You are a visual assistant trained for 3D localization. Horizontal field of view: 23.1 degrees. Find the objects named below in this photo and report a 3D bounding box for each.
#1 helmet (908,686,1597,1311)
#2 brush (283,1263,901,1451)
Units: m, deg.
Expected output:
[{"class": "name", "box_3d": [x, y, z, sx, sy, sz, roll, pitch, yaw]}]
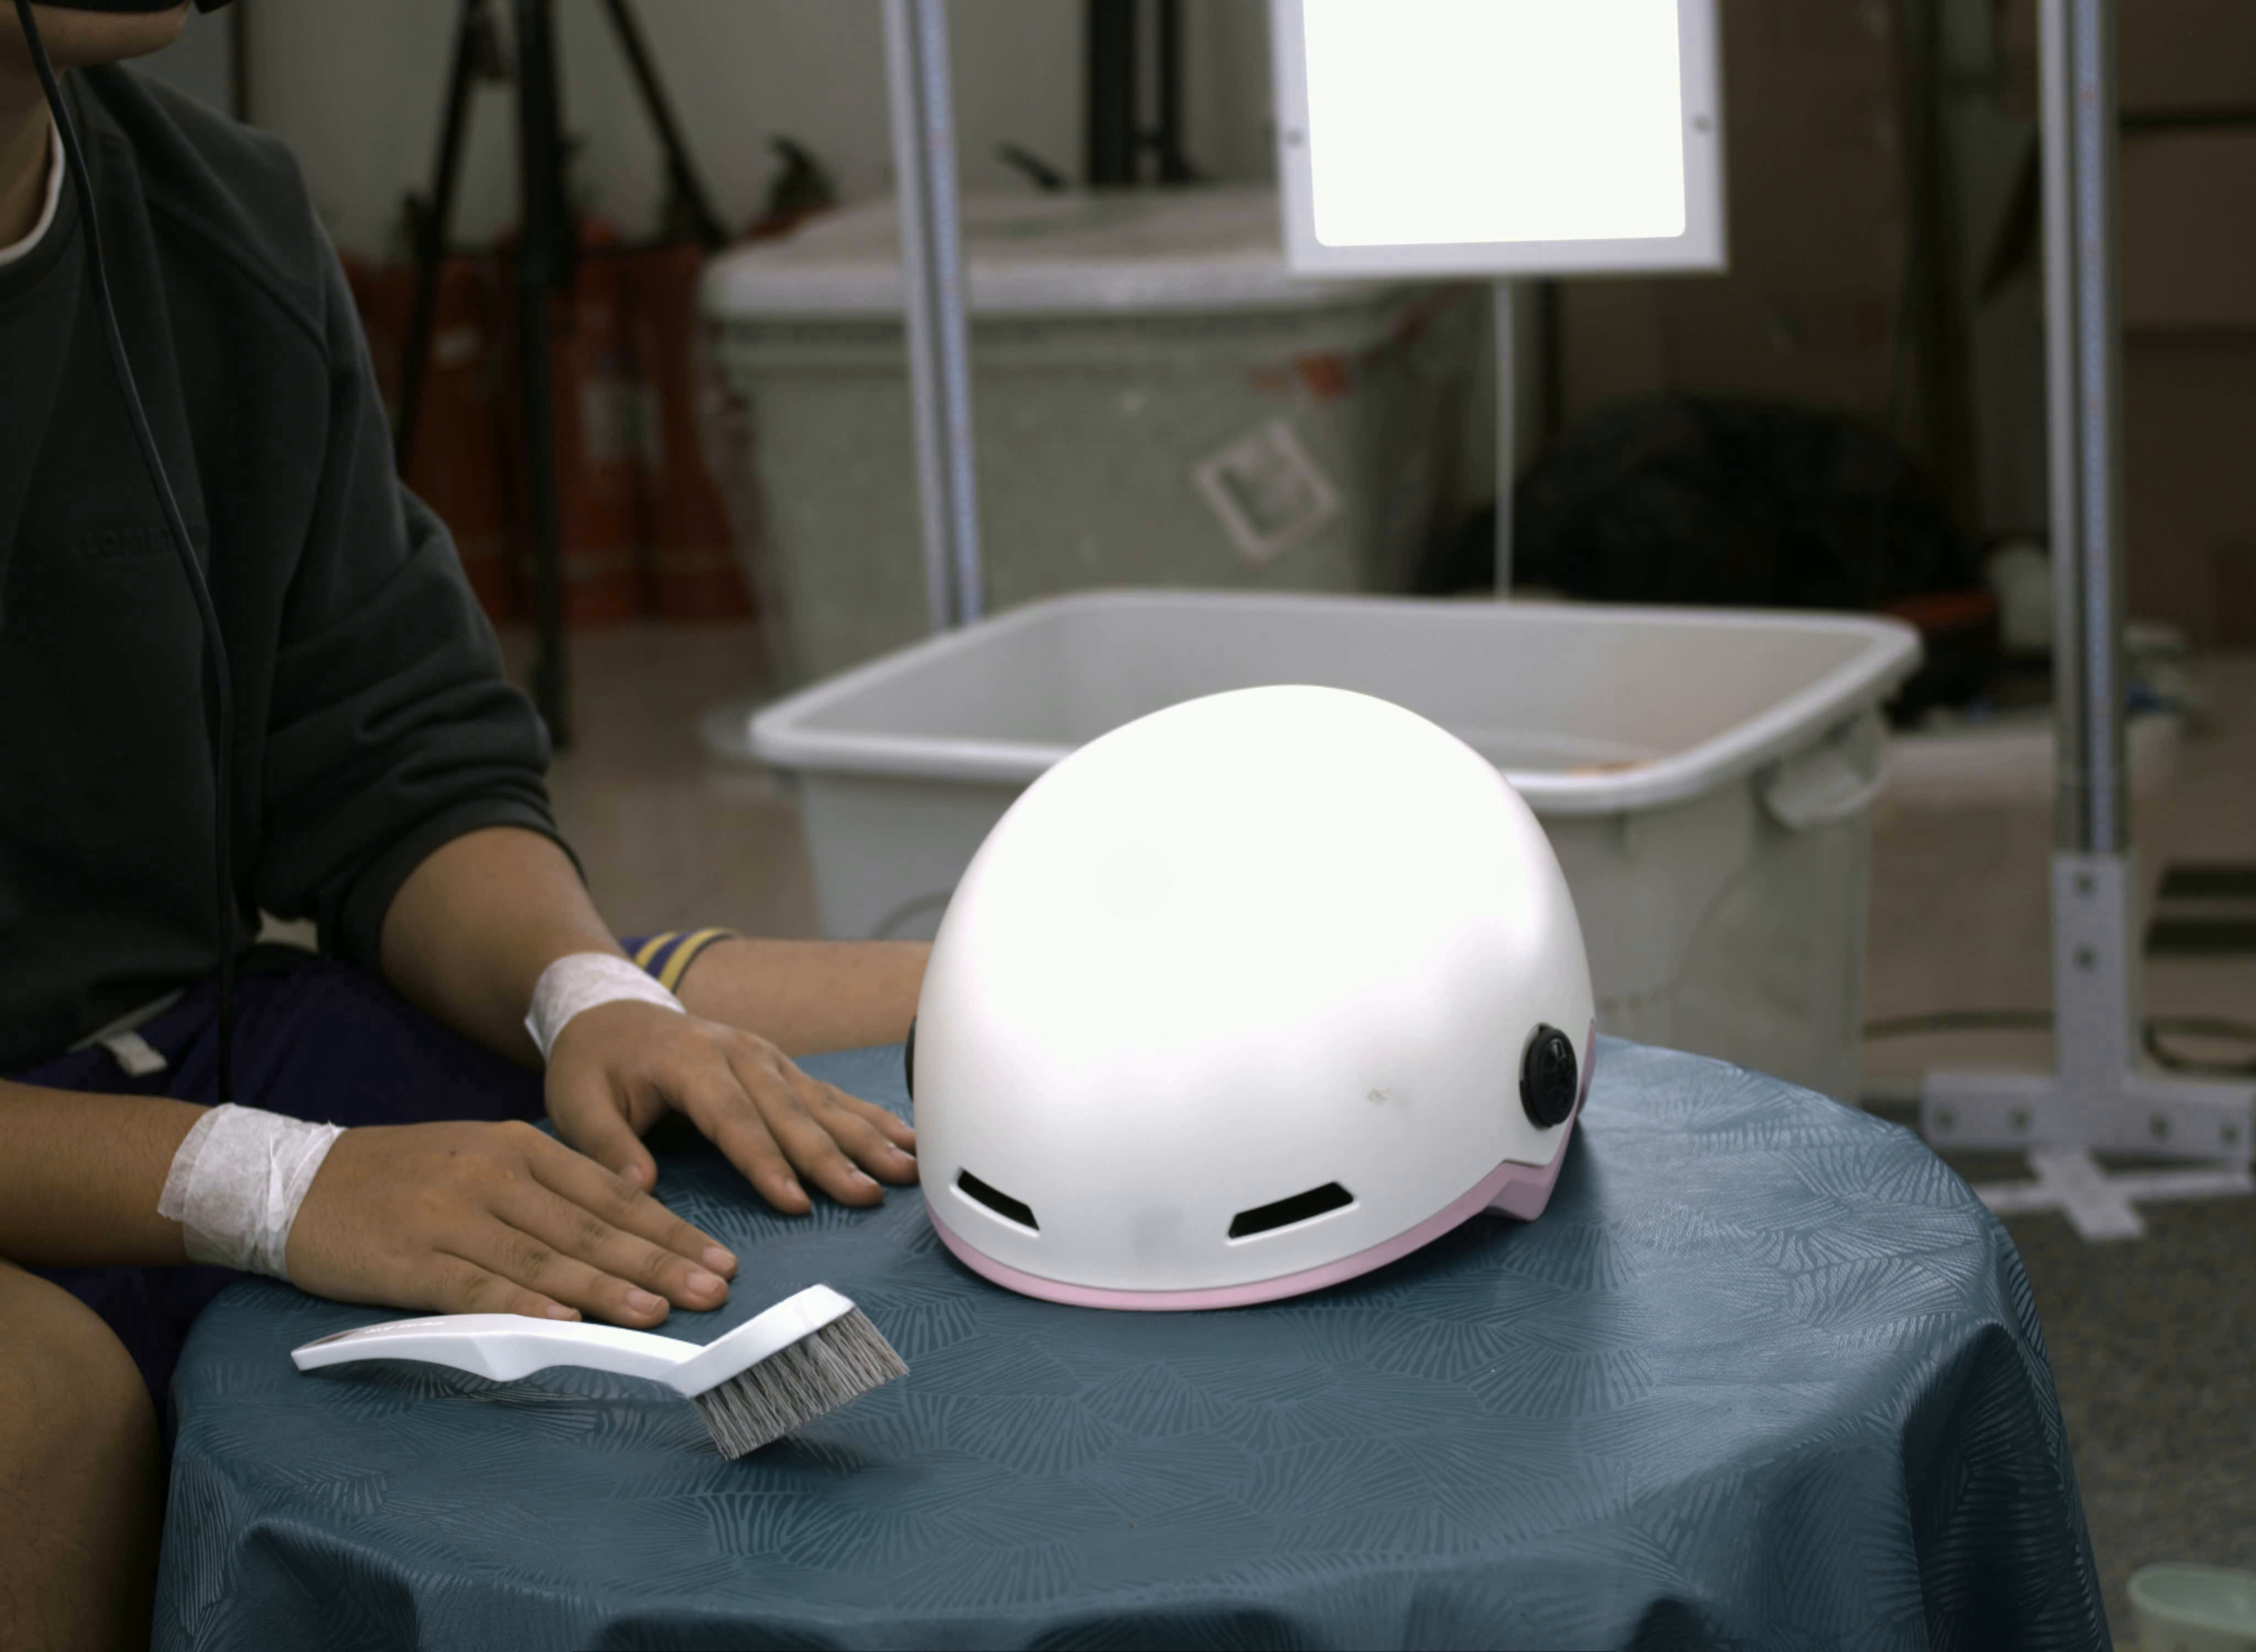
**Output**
[{"class": "helmet", "box_3d": [0.042, 0.045, 1.871, 0.241, 0.167, 0.263, 1, 16, 23]}, {"class": "brush", "box_3d": [-0.170, 0.174, 1.719, 0.249, 0.050, 0.033, -11, 7, 39]}]
